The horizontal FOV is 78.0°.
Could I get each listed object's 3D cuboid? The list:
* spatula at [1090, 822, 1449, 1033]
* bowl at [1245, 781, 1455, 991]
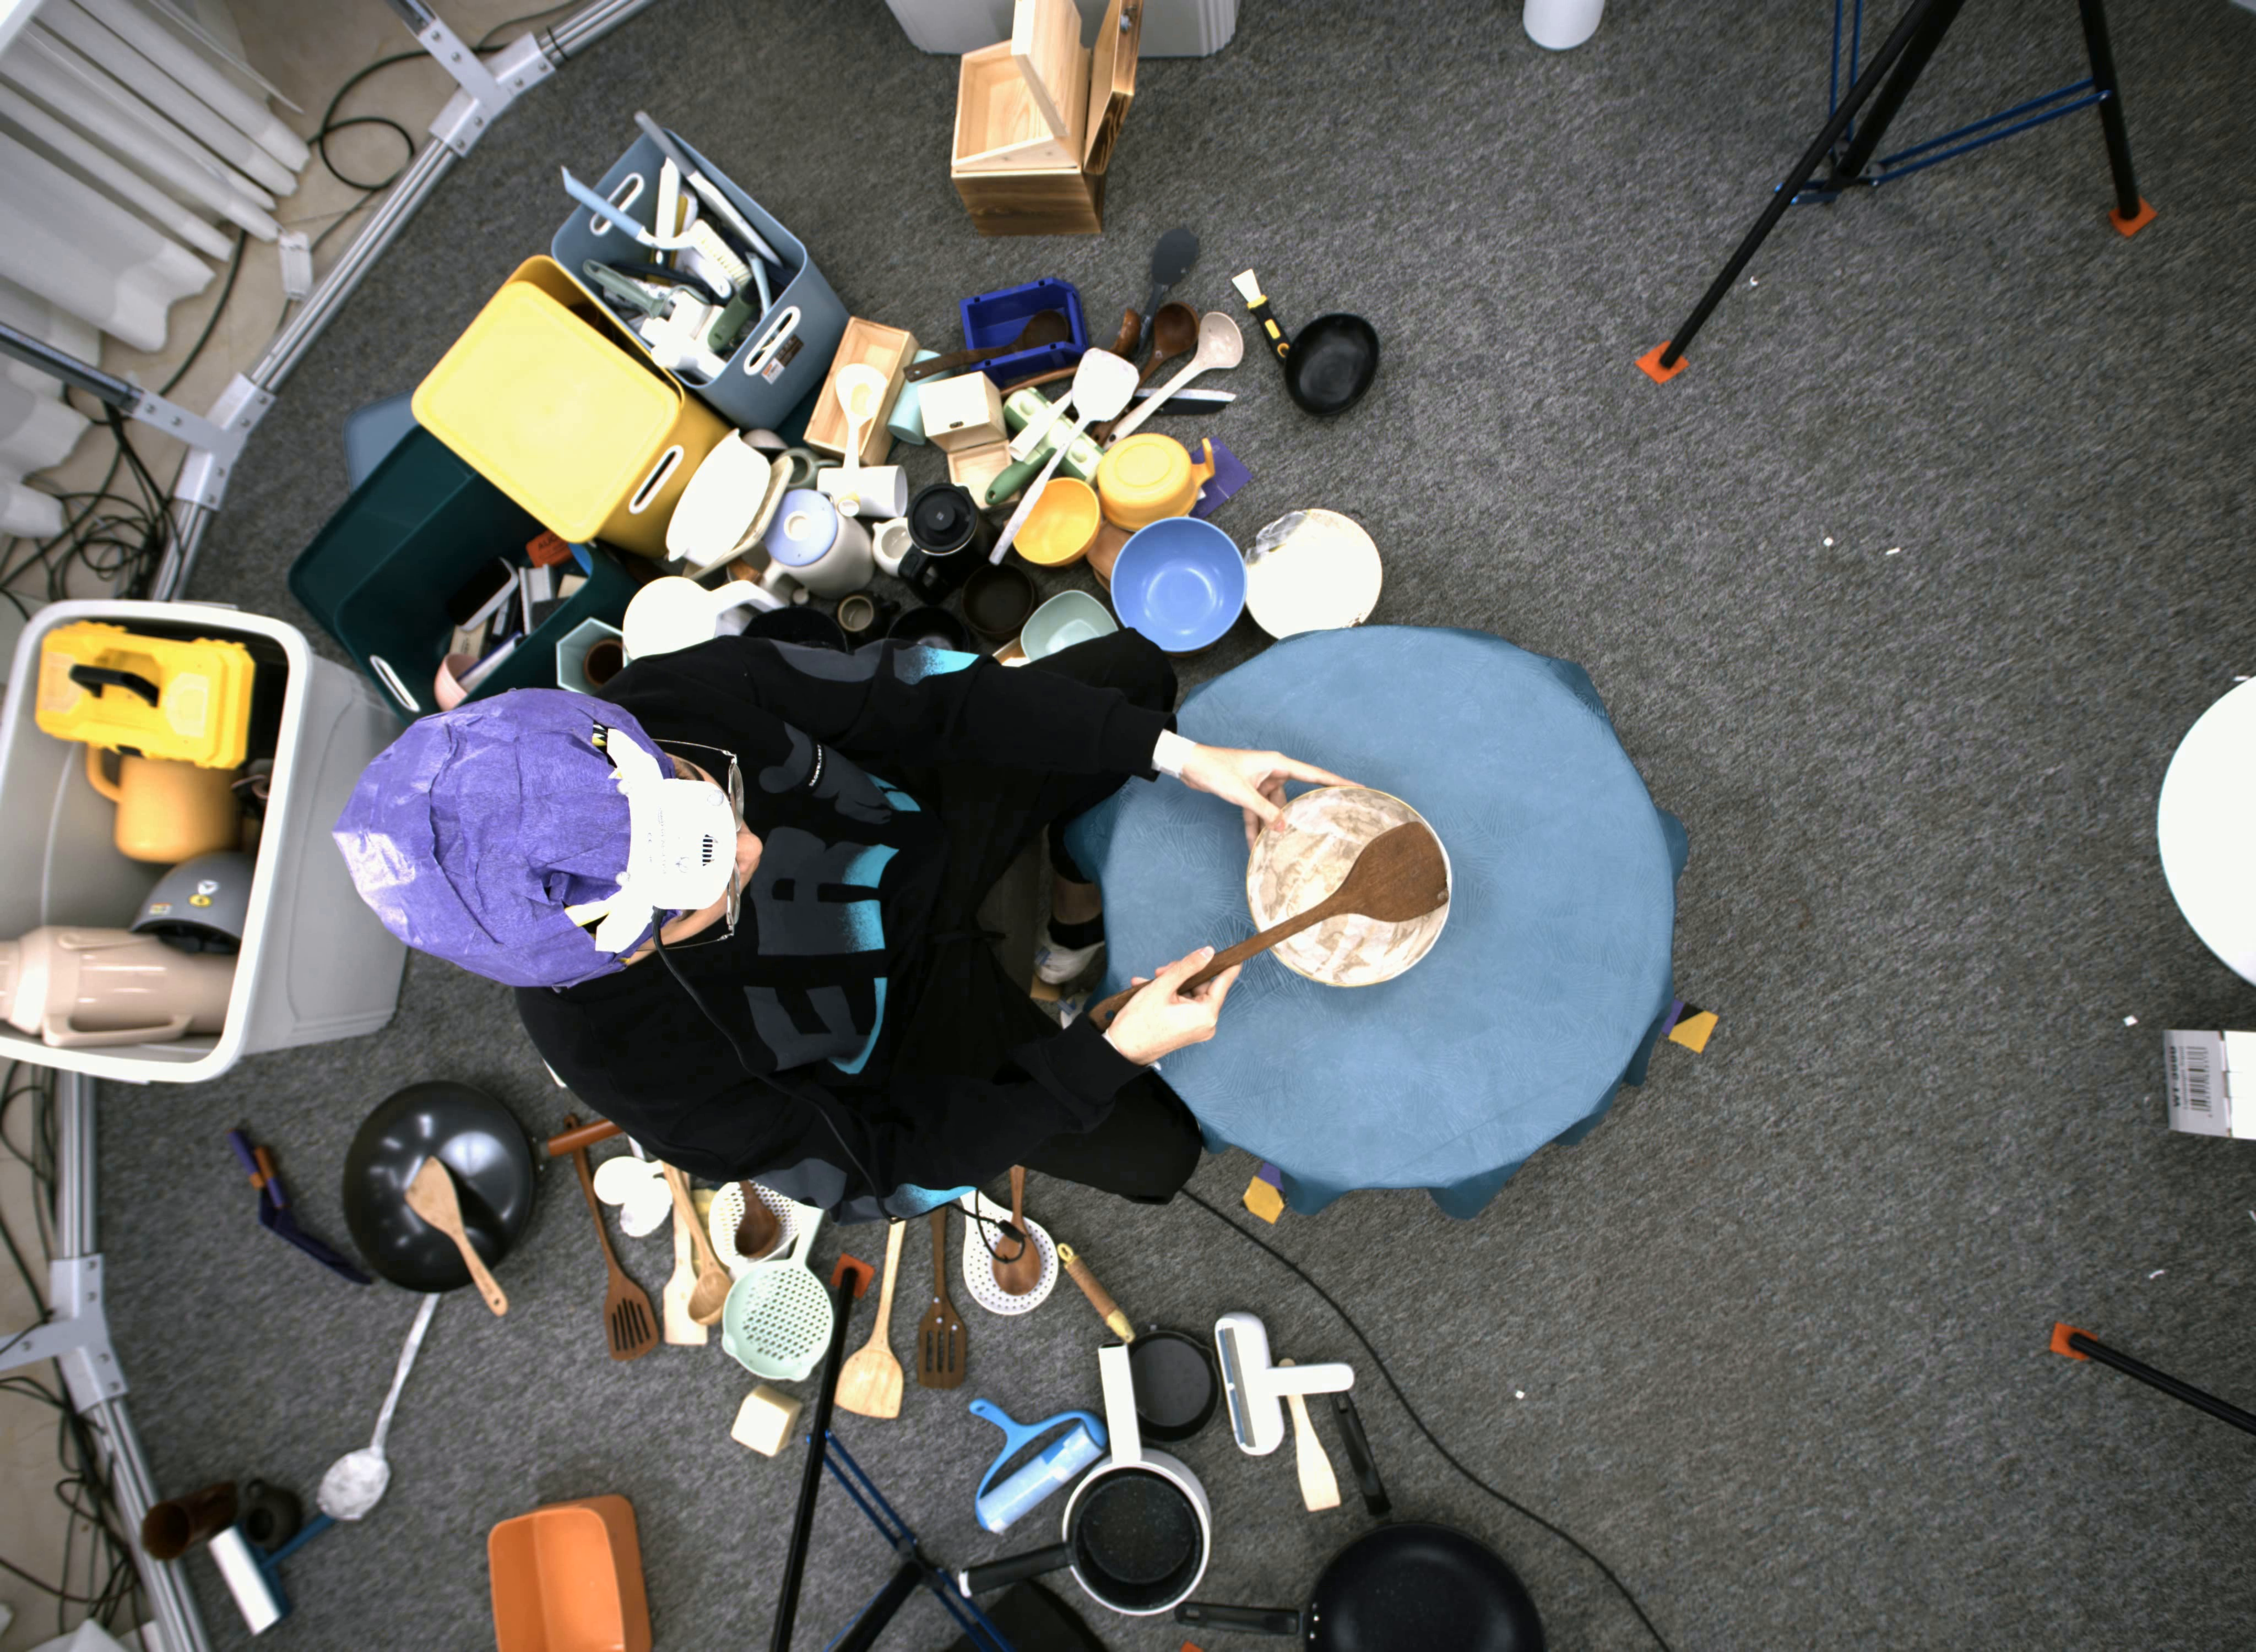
[{"bbox_3d":[0.138,0.108,1.325,0.384,0.016,0.097,-25,104,-11],"label":"spatula"},{"bbox_3d":[0.222,0.062,1.405,0.215,0.095,0.213,-1,86,7],"label":"bowl"}]
